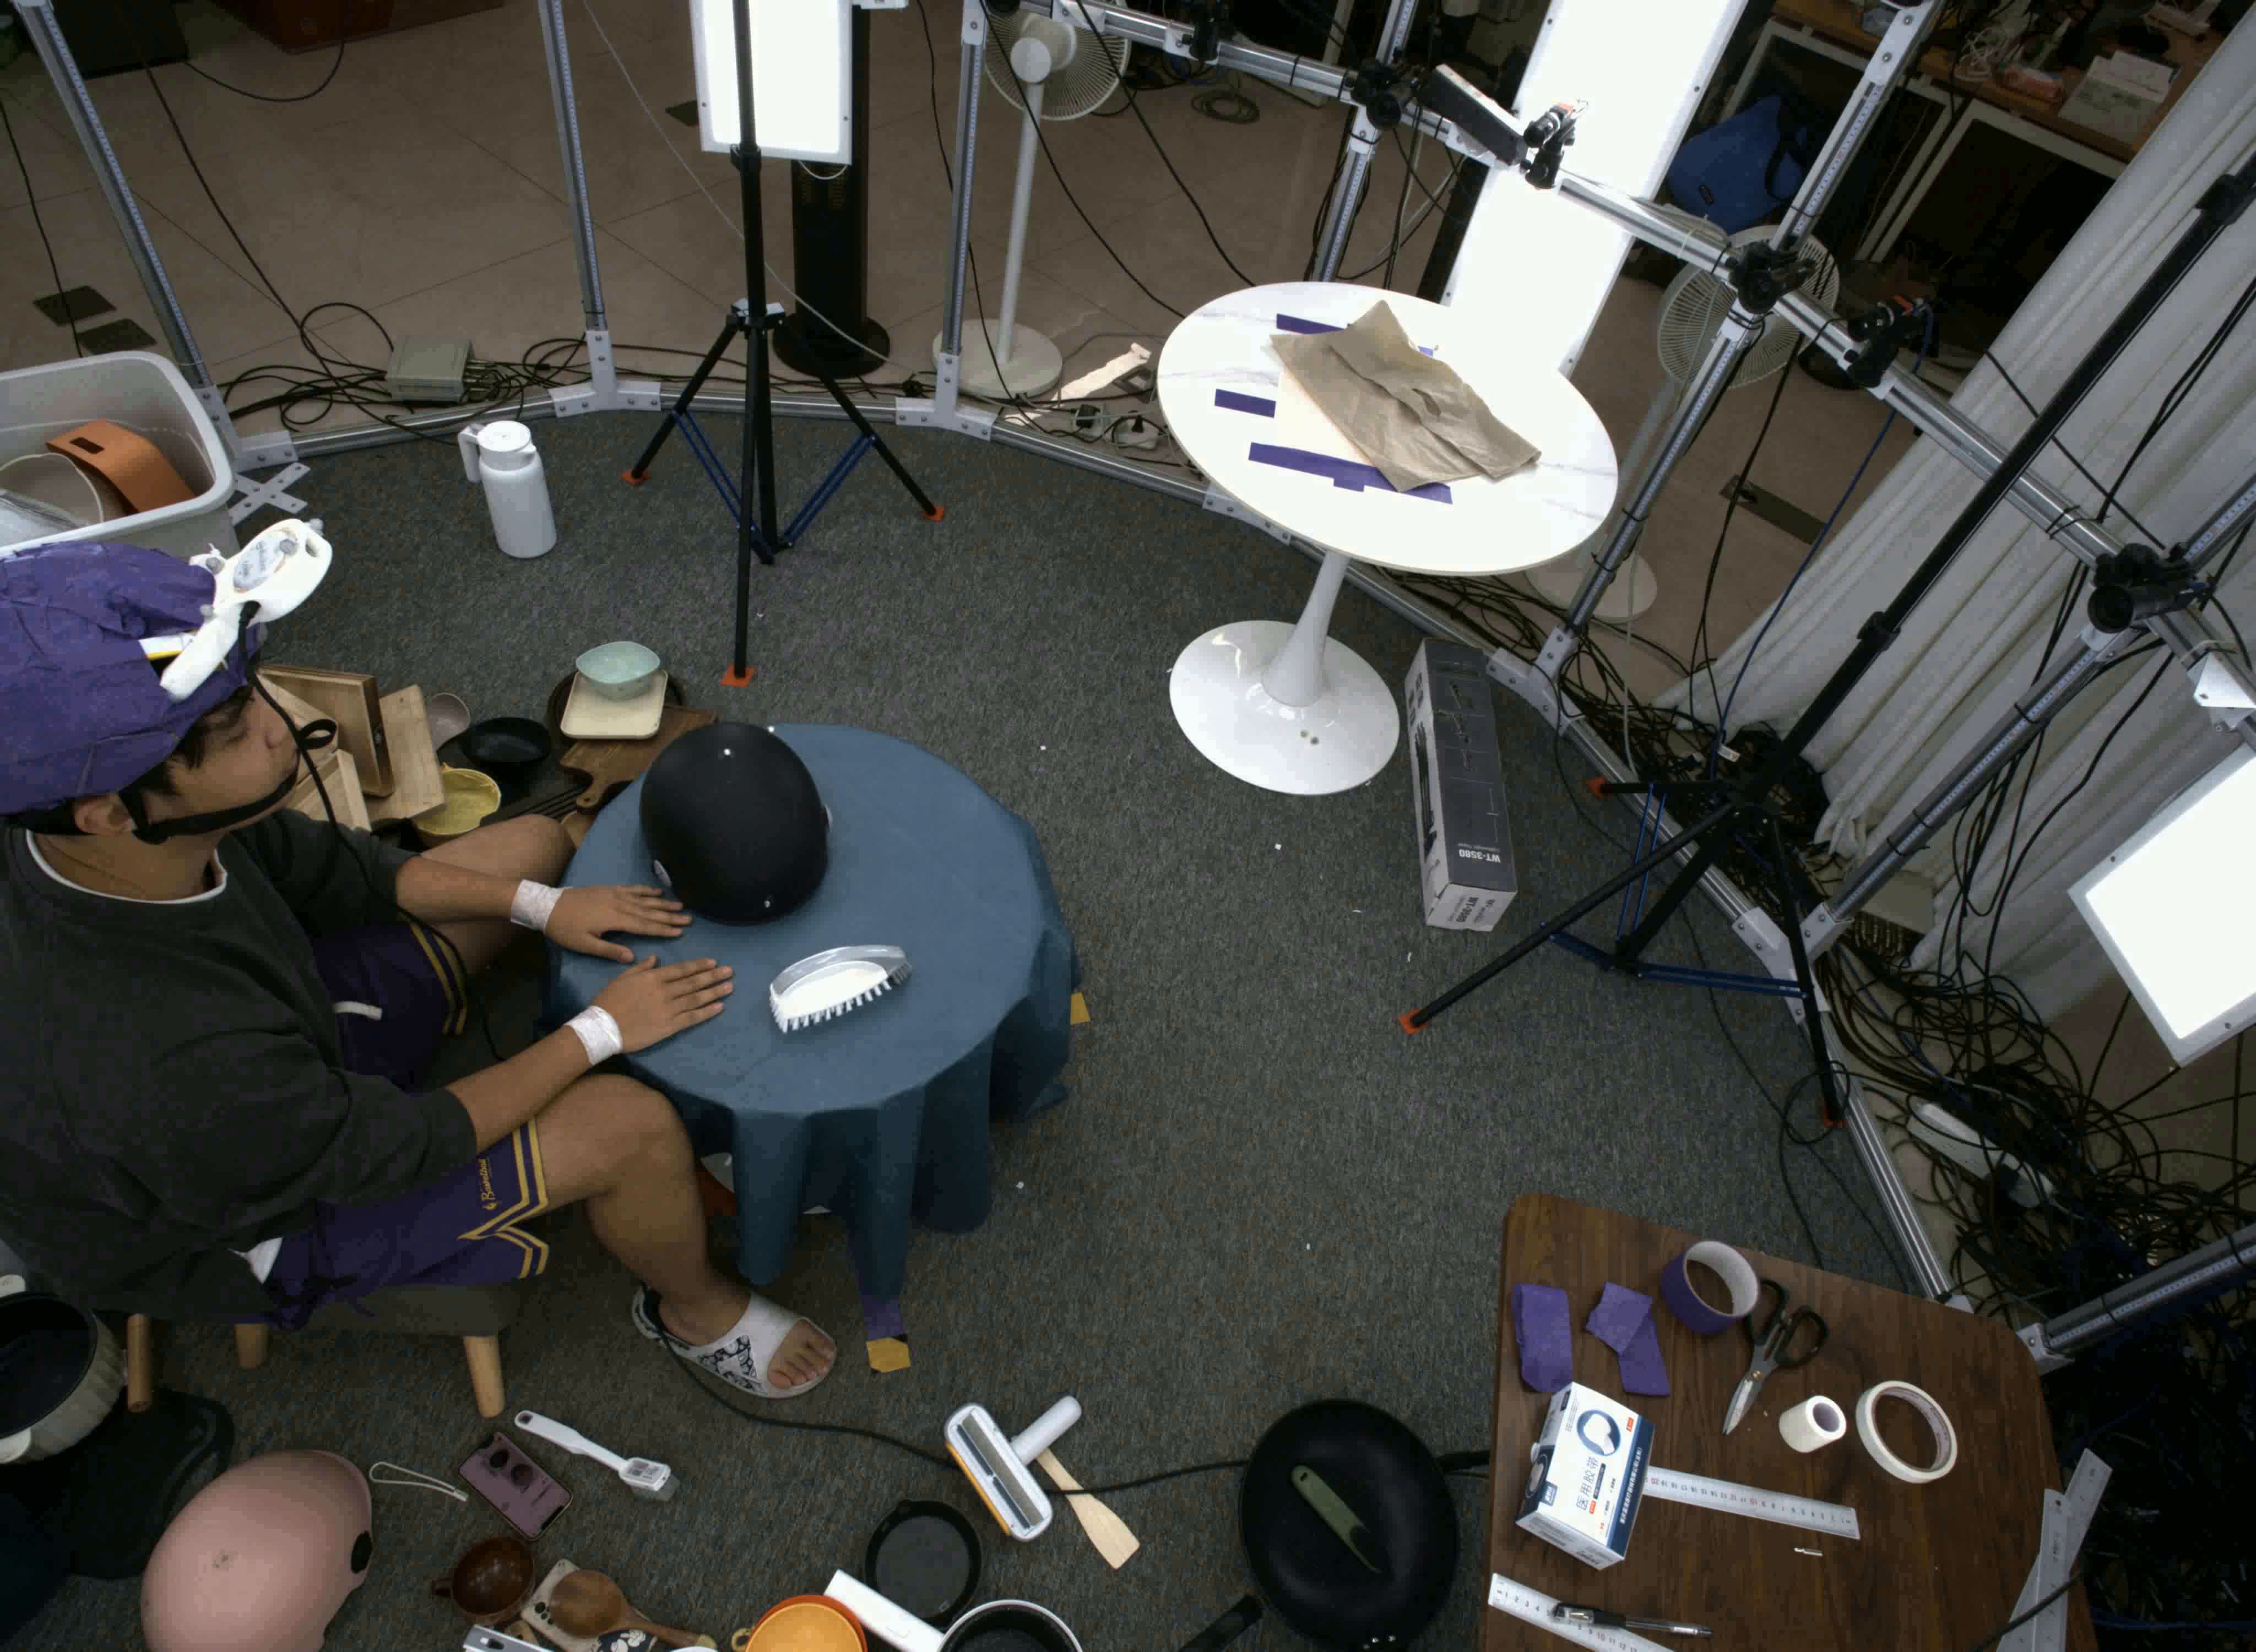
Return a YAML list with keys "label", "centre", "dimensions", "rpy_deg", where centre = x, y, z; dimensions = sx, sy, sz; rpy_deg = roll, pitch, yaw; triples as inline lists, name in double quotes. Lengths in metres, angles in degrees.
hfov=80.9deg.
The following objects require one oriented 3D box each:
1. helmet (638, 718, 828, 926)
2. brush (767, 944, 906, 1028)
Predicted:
- label: "helmet"
  centre: [-0.501, -0.027, 1.626]
  dimensions: [0.231, 0.170, 0.267]
  rpy_deg: [-20, 62, -25]
- label: "brush"
  centre: [-0.346, 0.173, 1.560]
  dimensions: [0.176, 0.096, 0.060]
  rpy_deg: [-17, 59, -26]
